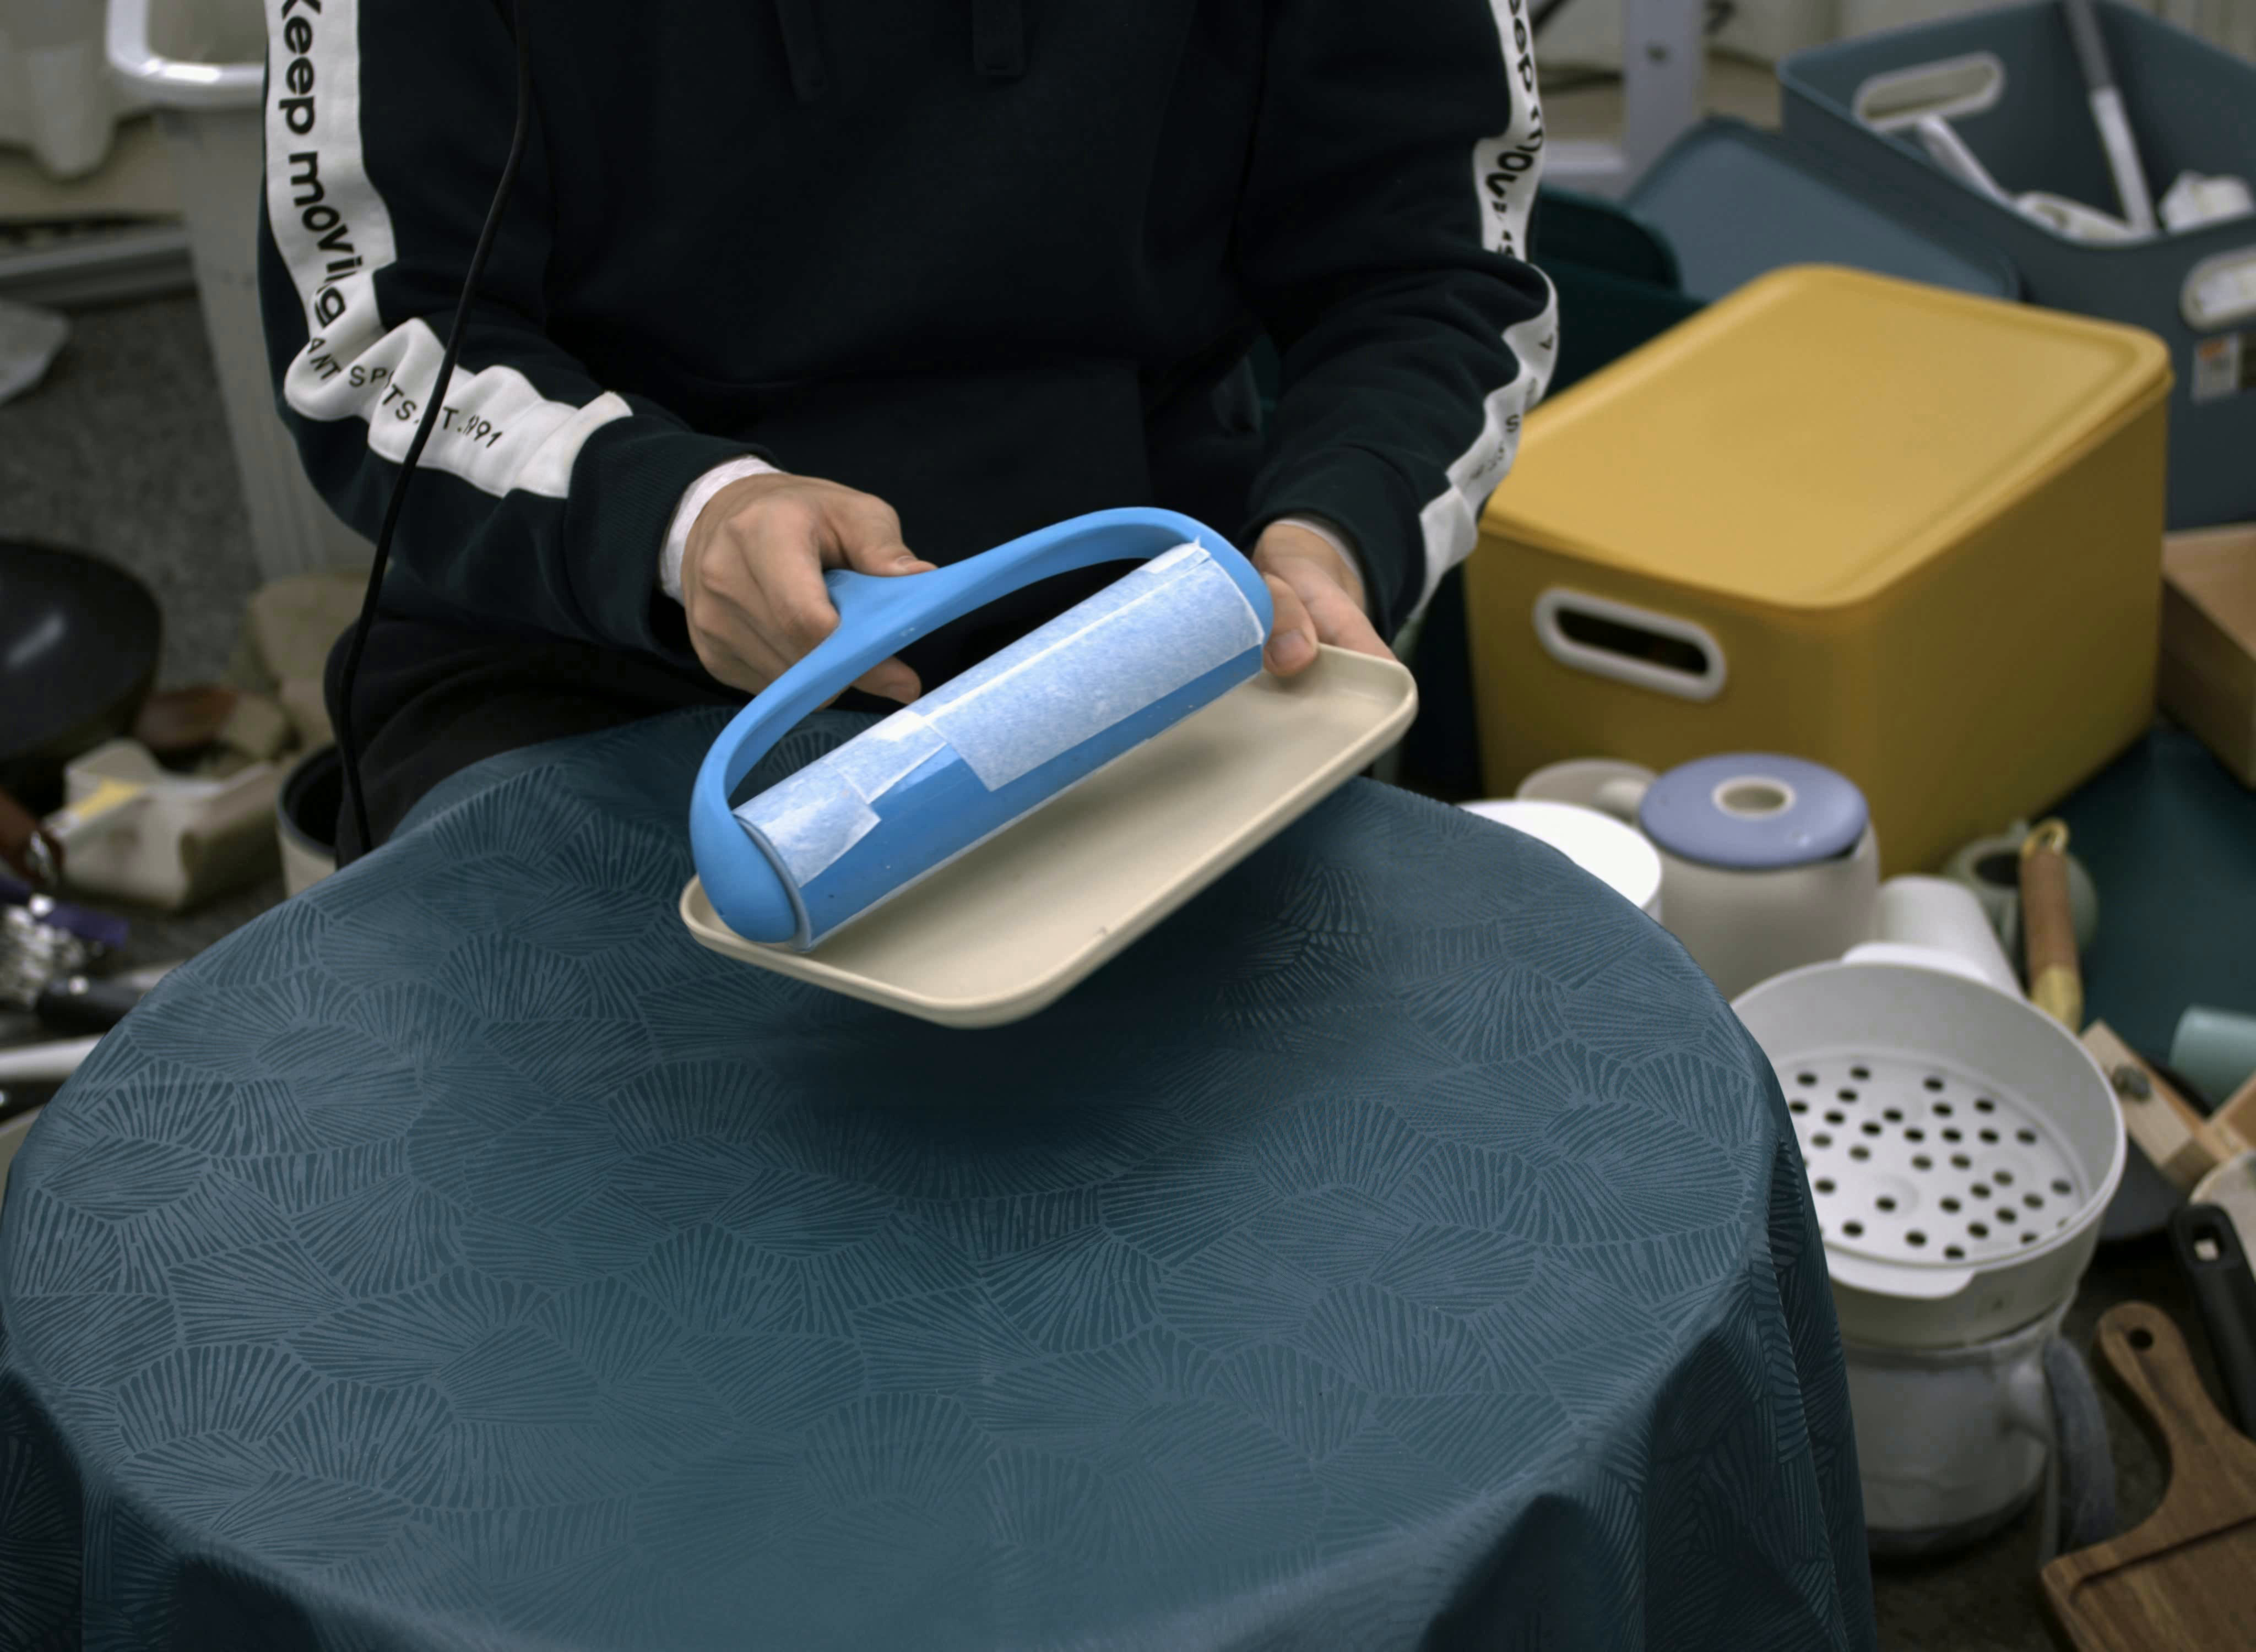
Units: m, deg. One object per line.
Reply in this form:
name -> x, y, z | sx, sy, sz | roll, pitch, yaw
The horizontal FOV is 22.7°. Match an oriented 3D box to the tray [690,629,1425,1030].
tray -> -0.022, -0.004, 1.933 | 0.170, 0.017, 0.243 | 15, 39, 41

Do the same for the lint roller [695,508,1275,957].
lint roller -> -0.080, -0.052, 1.947 | 0.231, 0.067, 0.181 | -35, 43, -23
